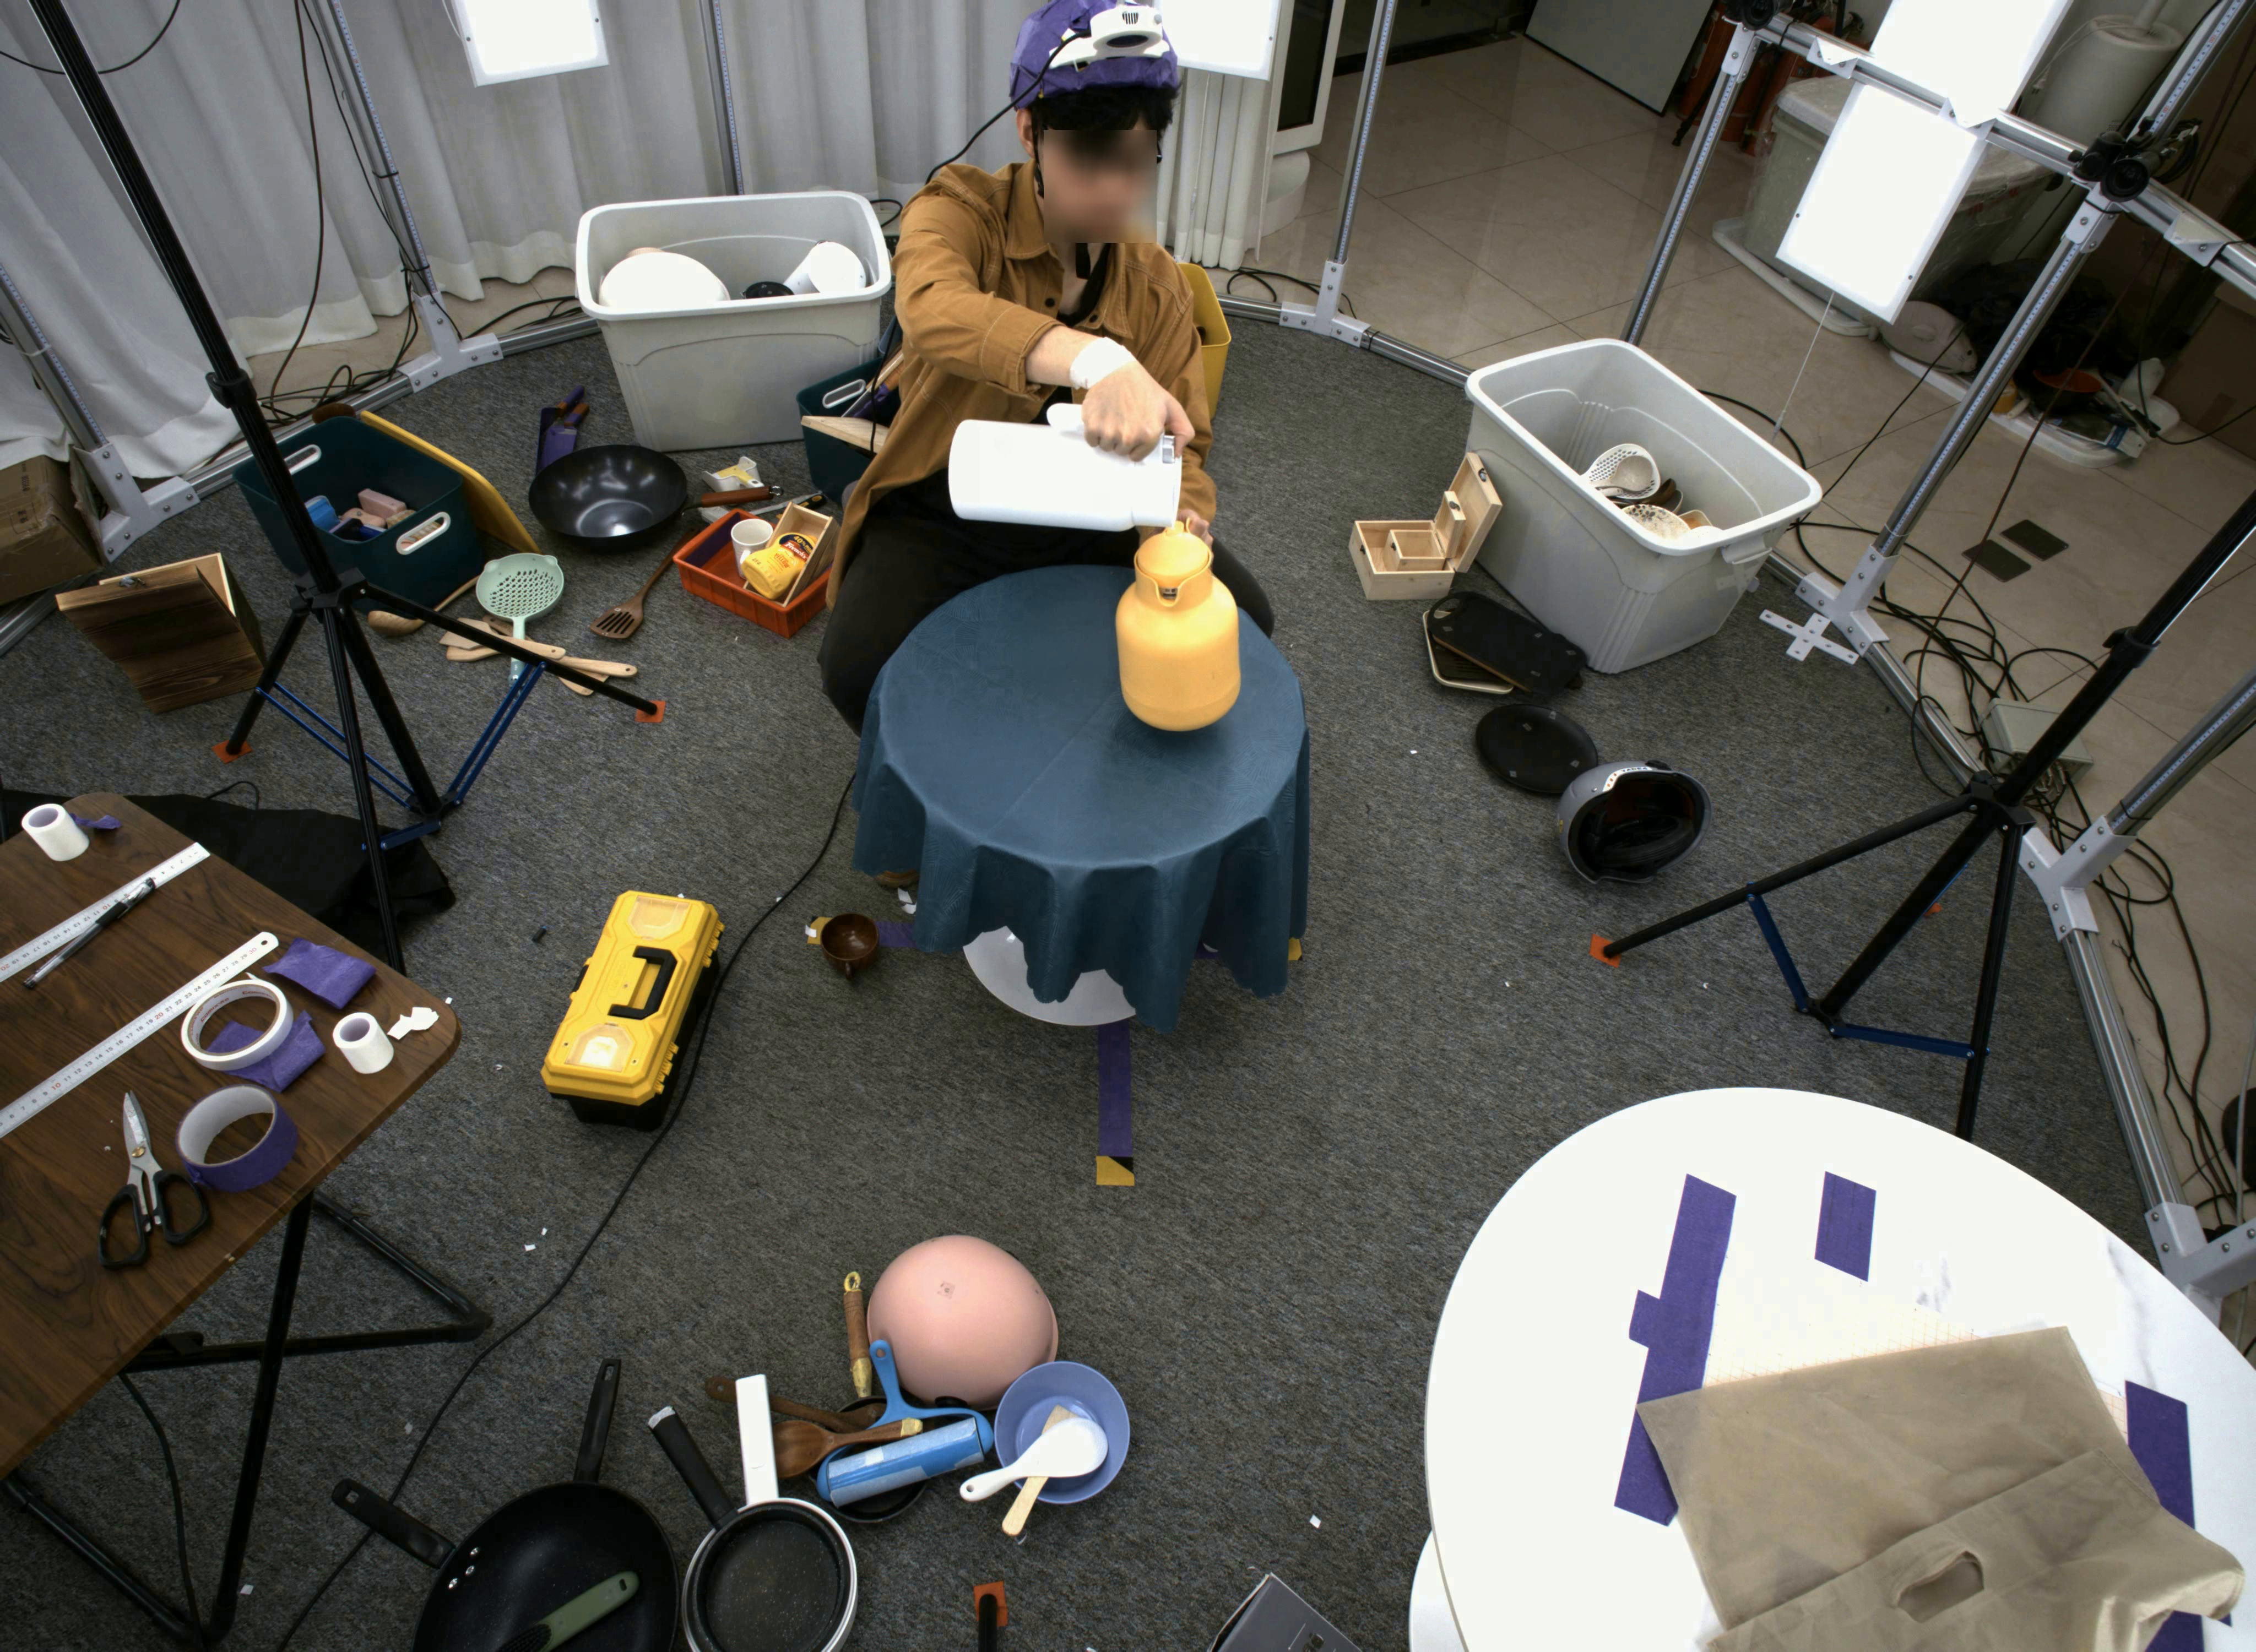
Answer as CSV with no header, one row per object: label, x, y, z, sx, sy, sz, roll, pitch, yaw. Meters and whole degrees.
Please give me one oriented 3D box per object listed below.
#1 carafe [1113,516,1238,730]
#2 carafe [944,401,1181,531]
carafe,0.066,-0.275,1.694,0.163,0.254,0.207,5,50,8
carafe,-0.076,-0.419,1.506,0.269,0.169,0.126,7,62,8
